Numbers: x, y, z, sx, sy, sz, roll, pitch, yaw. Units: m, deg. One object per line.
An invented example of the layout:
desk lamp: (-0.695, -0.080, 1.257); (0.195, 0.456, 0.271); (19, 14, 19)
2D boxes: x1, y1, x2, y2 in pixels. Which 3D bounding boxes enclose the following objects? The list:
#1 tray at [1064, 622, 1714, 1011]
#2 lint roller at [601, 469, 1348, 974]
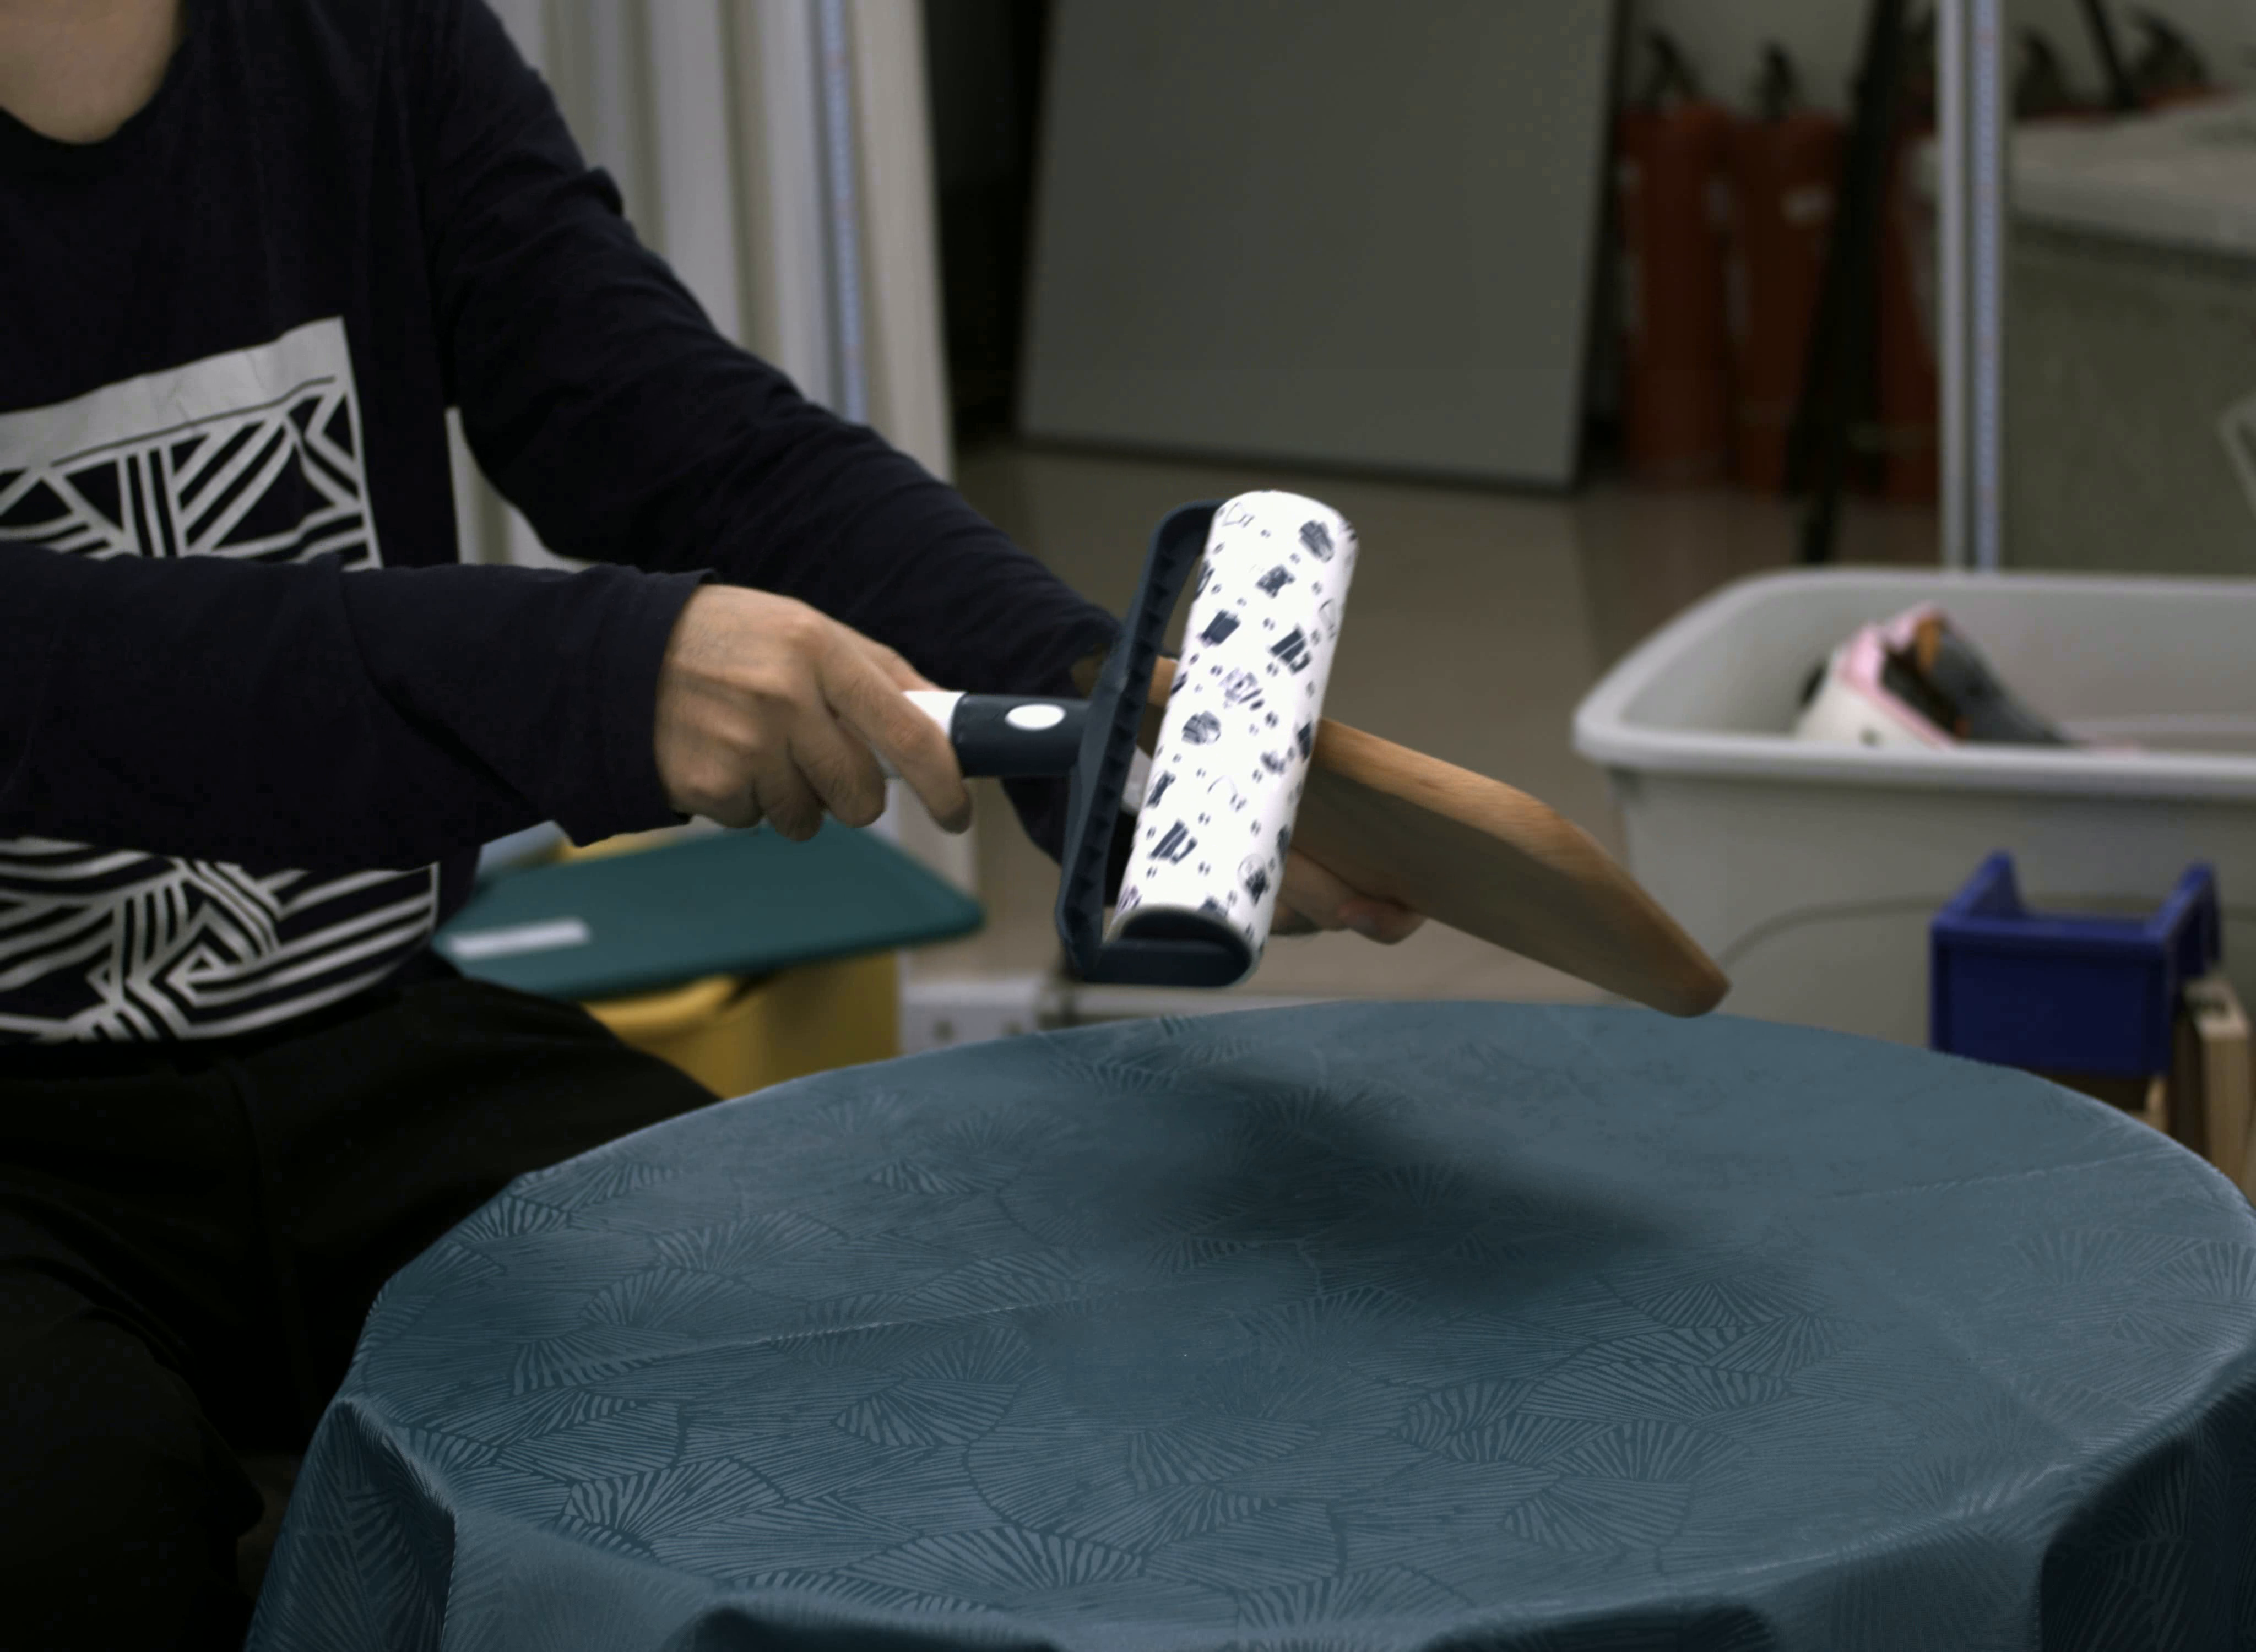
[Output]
tray: (0.079, -0.003, 1.743); (0.253, 0.129, 0.023); (20, 68, 51)
lint roller: (-0.059, -0.031, 1.710); (0.247, 0.050, 0.177); (-2, 54, 22)
